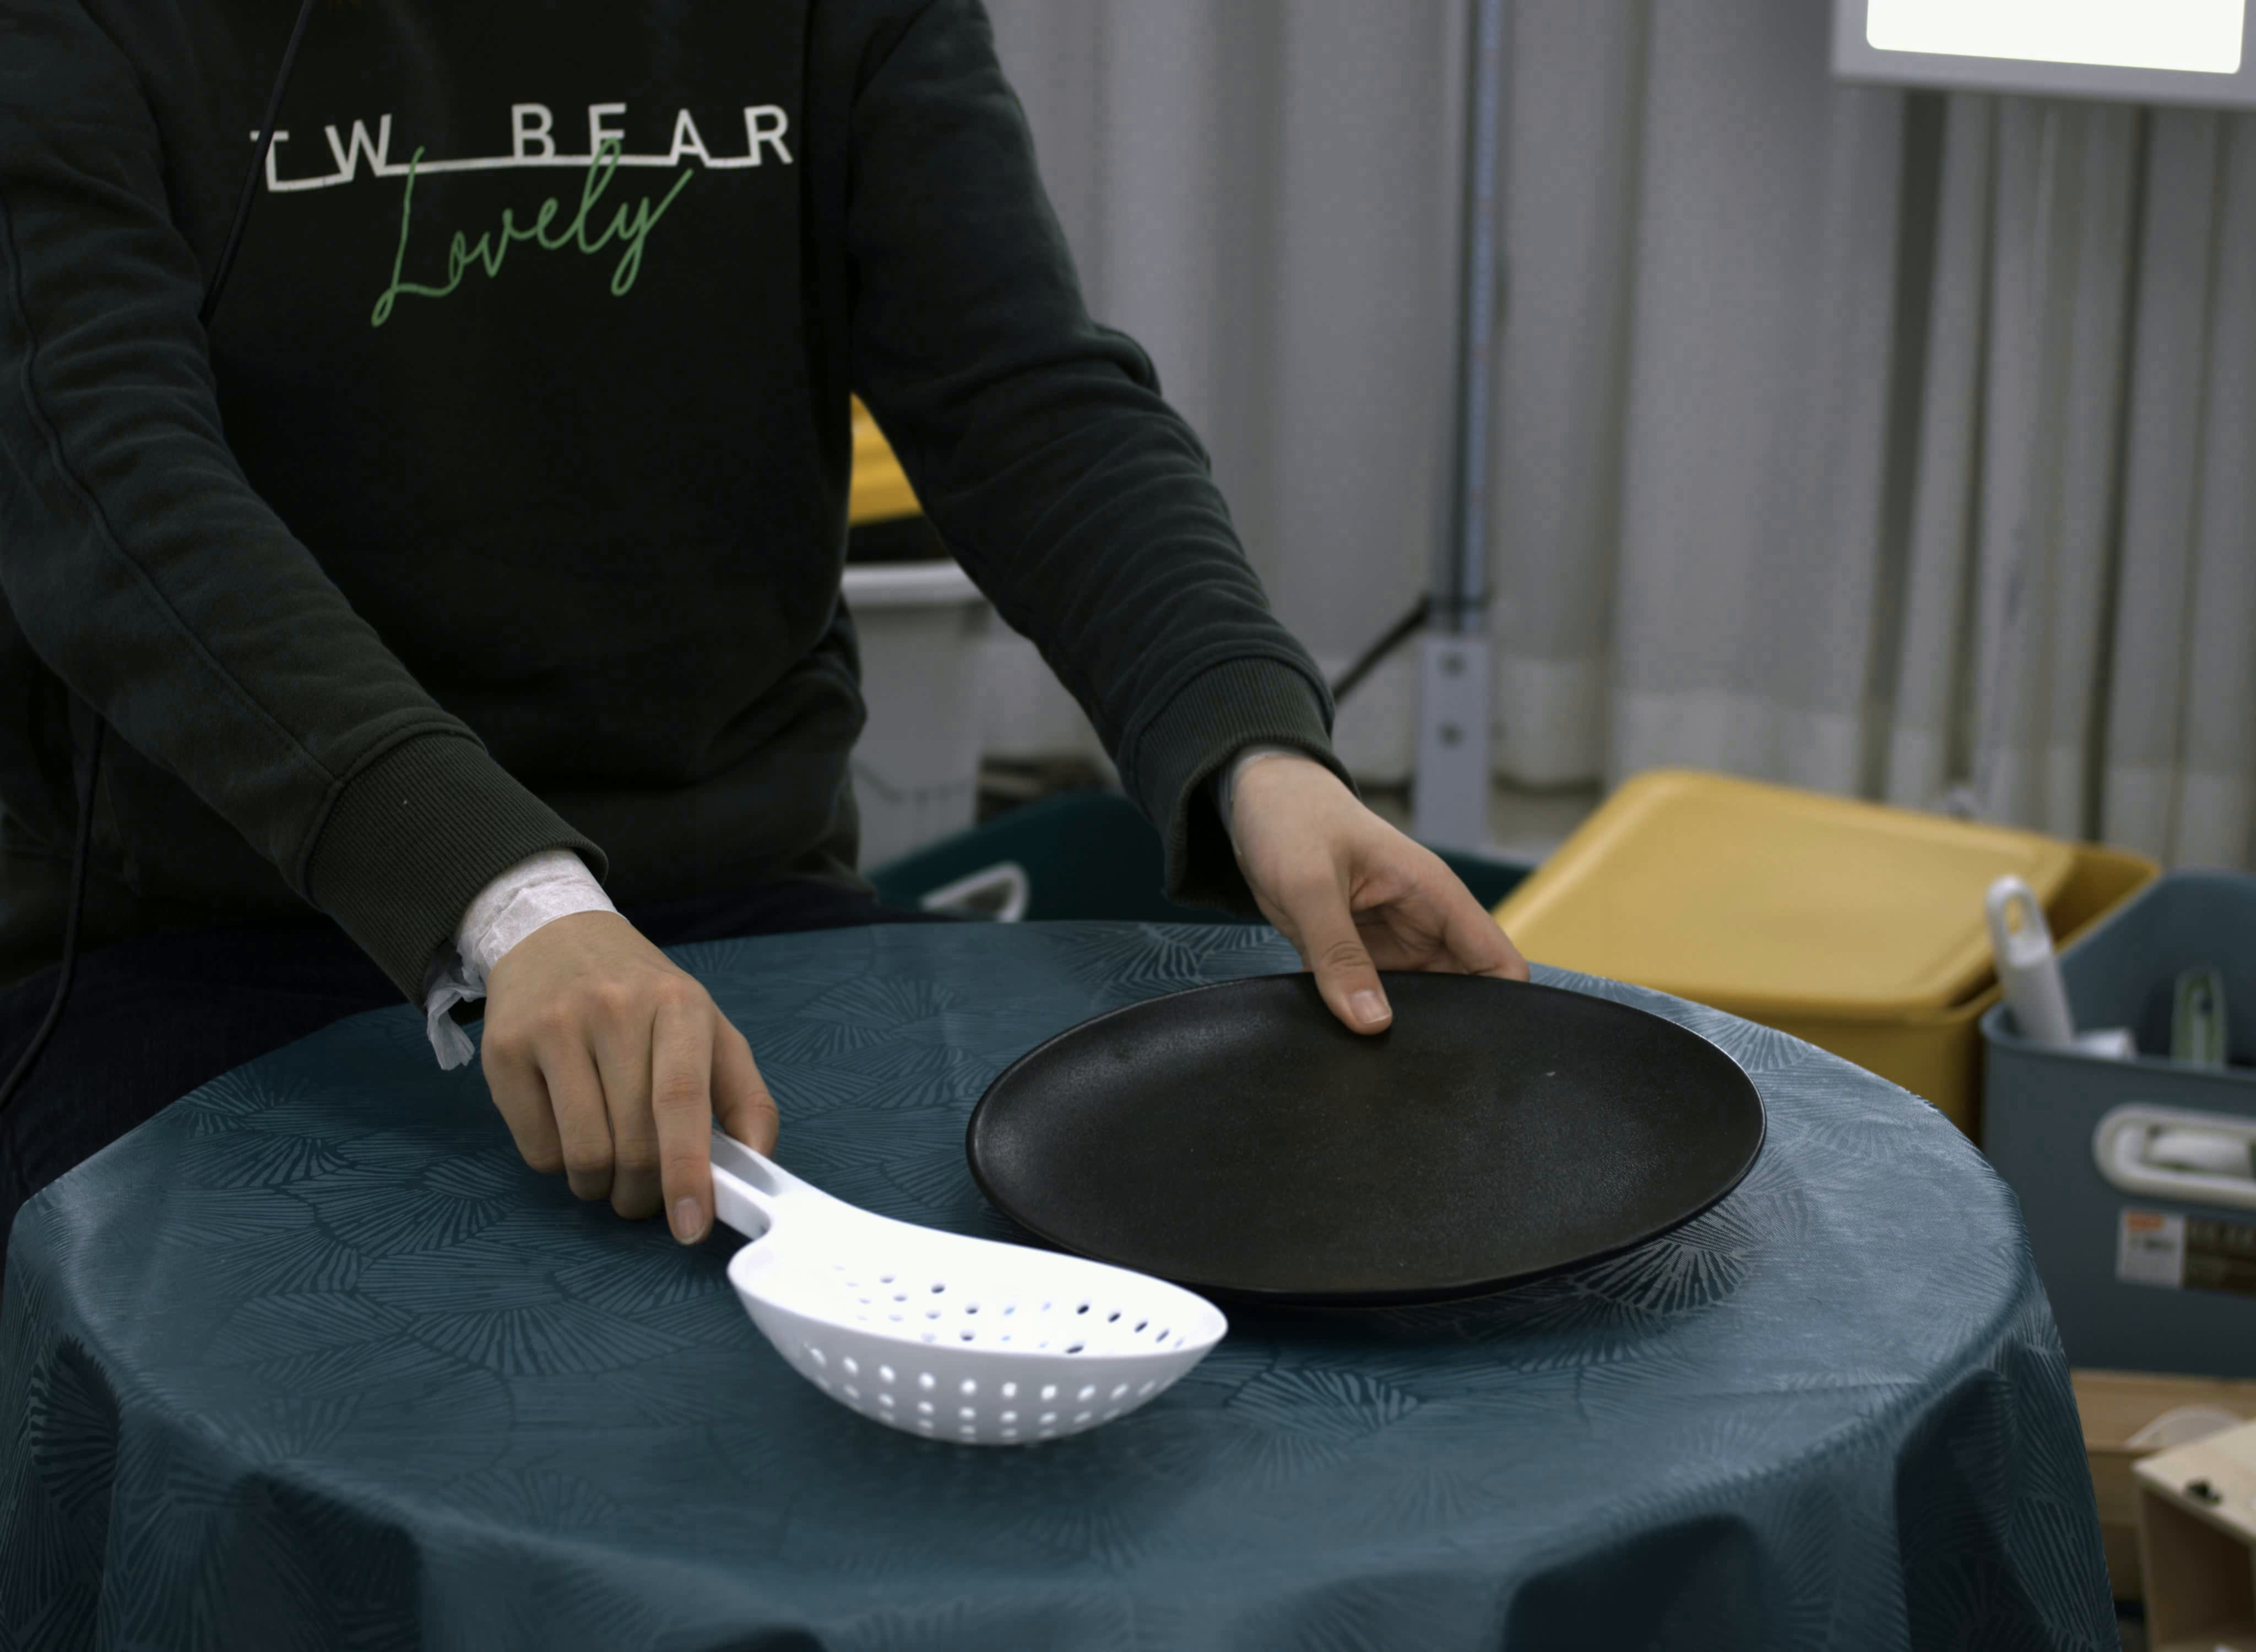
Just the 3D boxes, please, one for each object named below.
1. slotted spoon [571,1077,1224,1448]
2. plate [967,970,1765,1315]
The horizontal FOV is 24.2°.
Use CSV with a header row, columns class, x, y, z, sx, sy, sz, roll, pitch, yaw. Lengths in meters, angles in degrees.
class,x,y,z,sx,sy,sz,roll,pitch,yaw
slotted spoon,-0.090,0.116,1.518,0.137,0.046,0.345,4,13,-28
plate,0.073,0.099,1.605,0.243,0.023,0.243,-1,21,1
